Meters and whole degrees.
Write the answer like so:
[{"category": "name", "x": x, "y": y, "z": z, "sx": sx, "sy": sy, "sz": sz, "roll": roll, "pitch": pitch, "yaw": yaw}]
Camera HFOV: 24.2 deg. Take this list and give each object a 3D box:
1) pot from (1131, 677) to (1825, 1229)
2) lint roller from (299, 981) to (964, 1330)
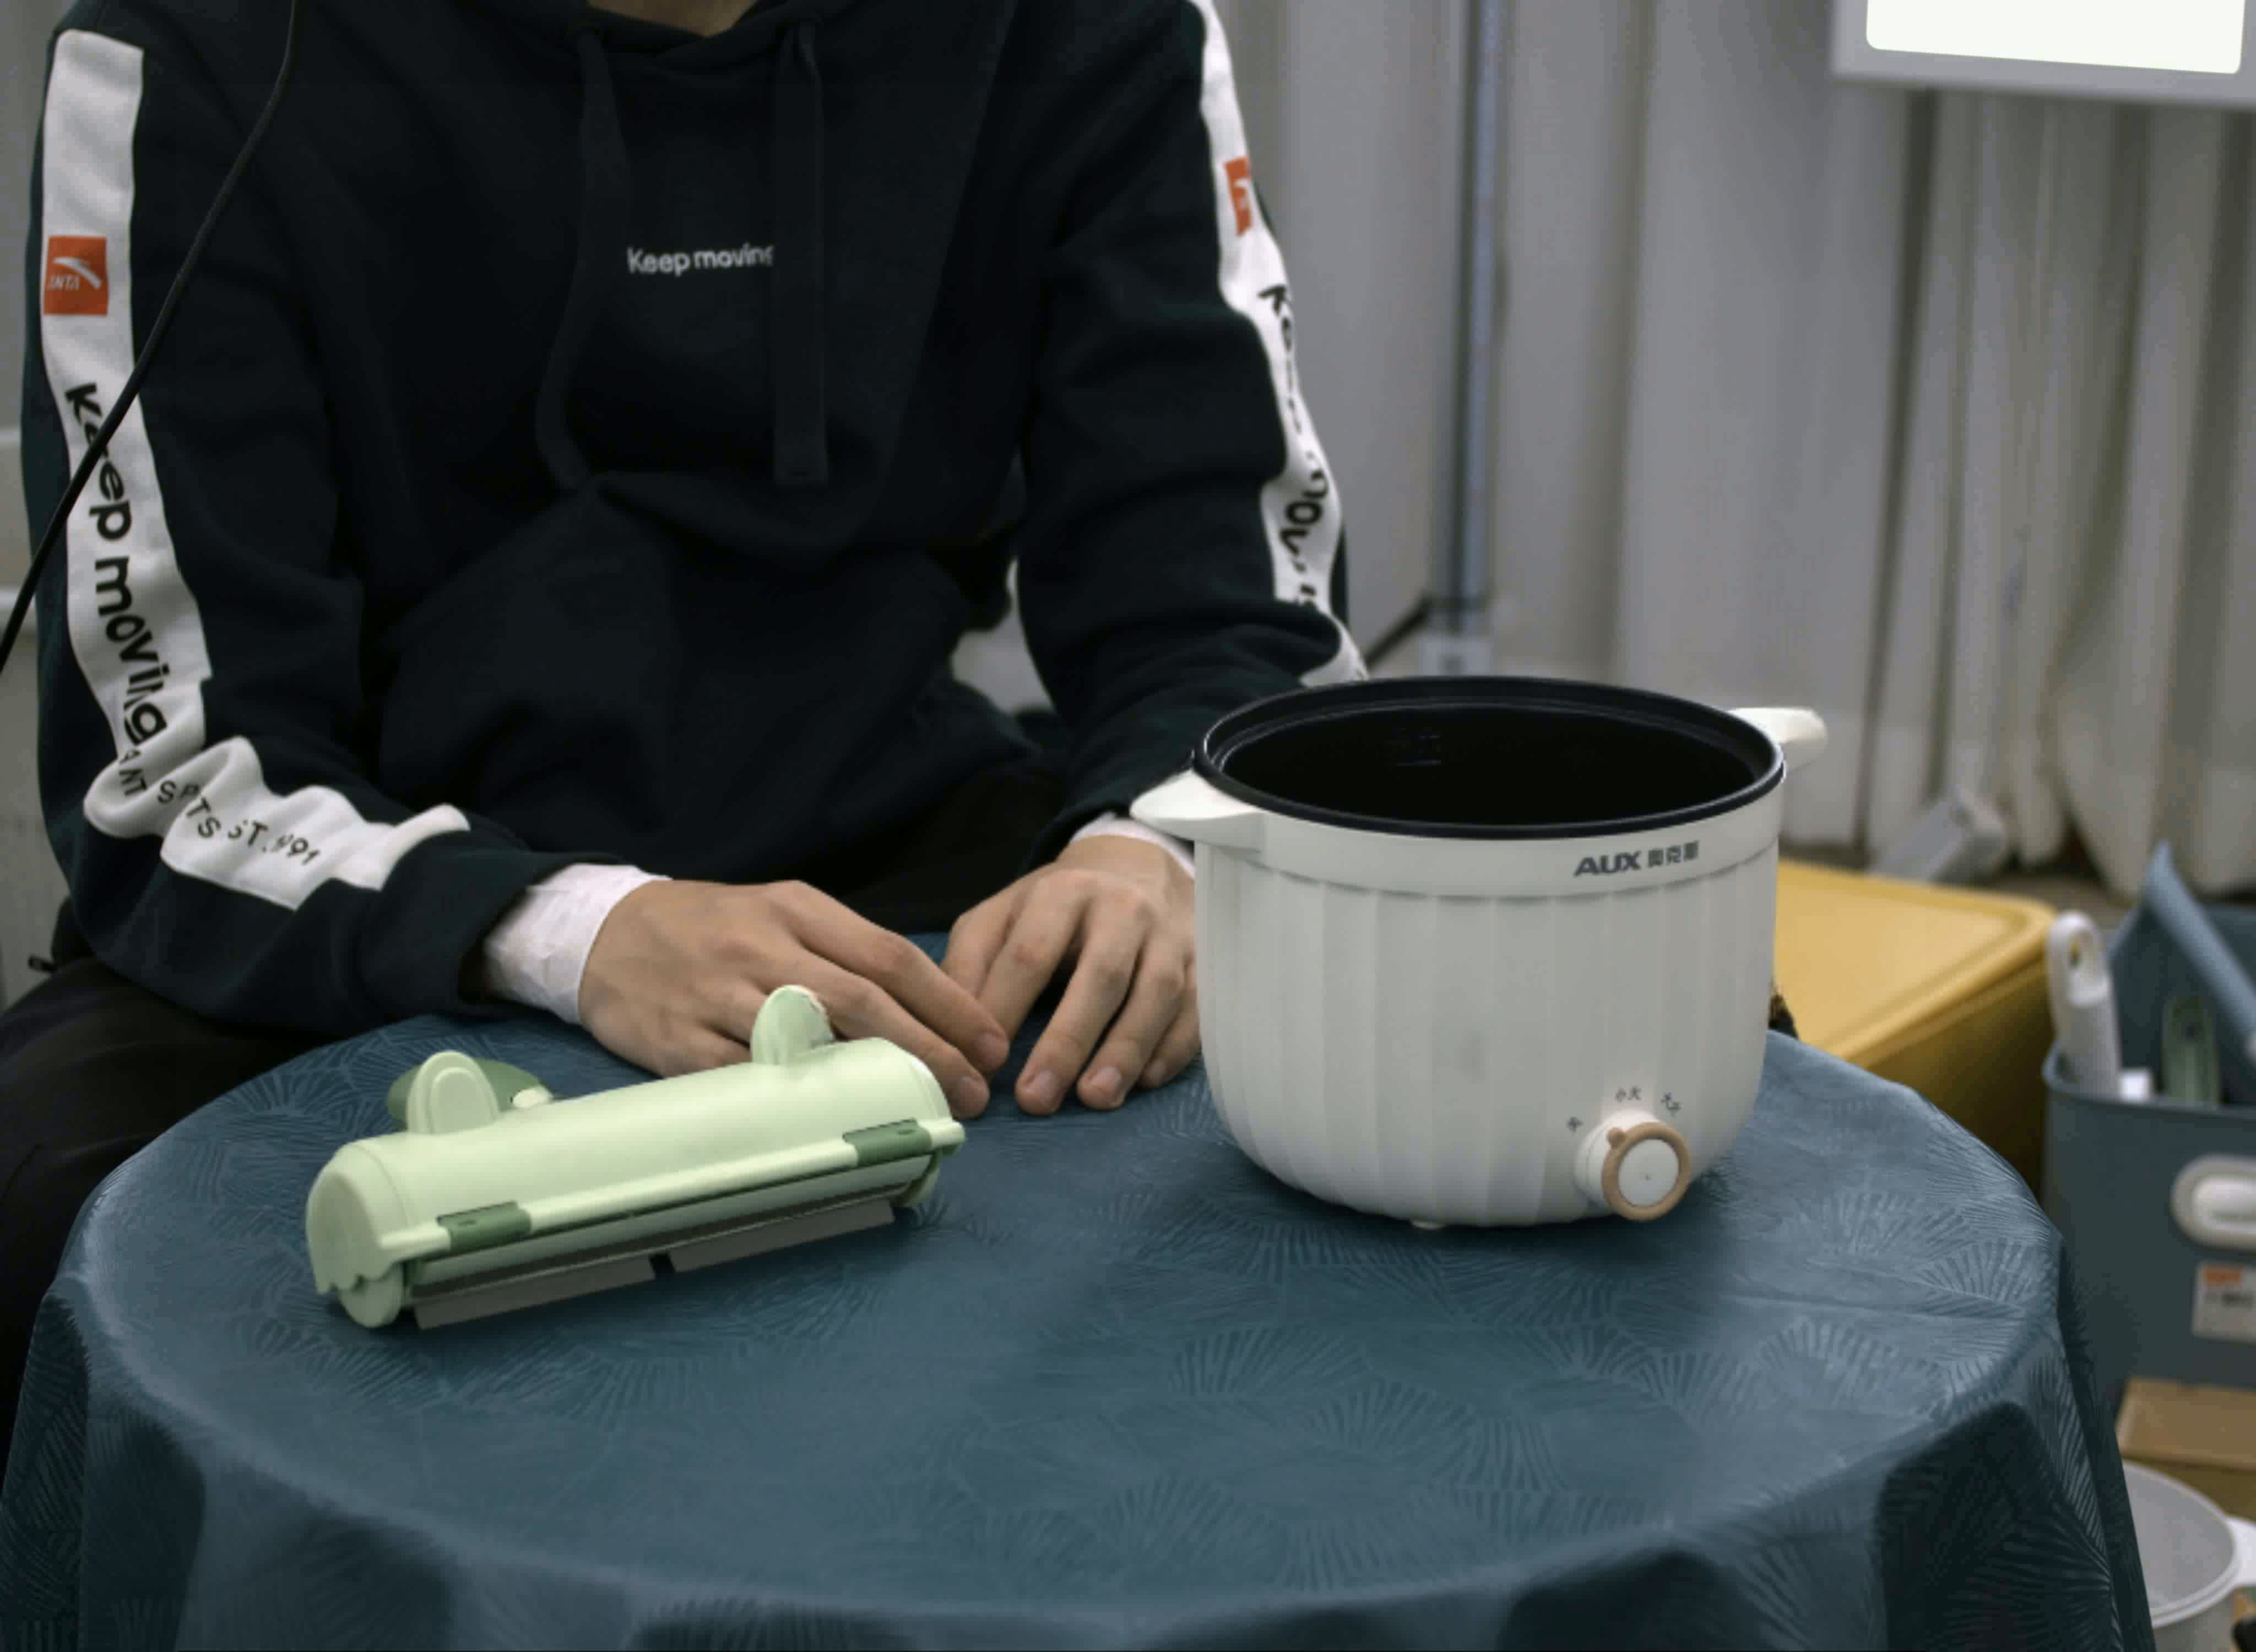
[{"category": "pot", "x": 0.114, "y": 0.041, "z": 1.621, "sx": 0.241, "sy": 0.144, "sz": 0.188, "roll": -9, "pitch": 15, "yaw": -26}, {"category": "lint roller", "x": -0.176, "y": 0.081, "z": 1.588, "sx": 0.199, "sy": 0.083, "sz": 0.181, "roll": -11, "pitch": 24, "yaw": -33}]
